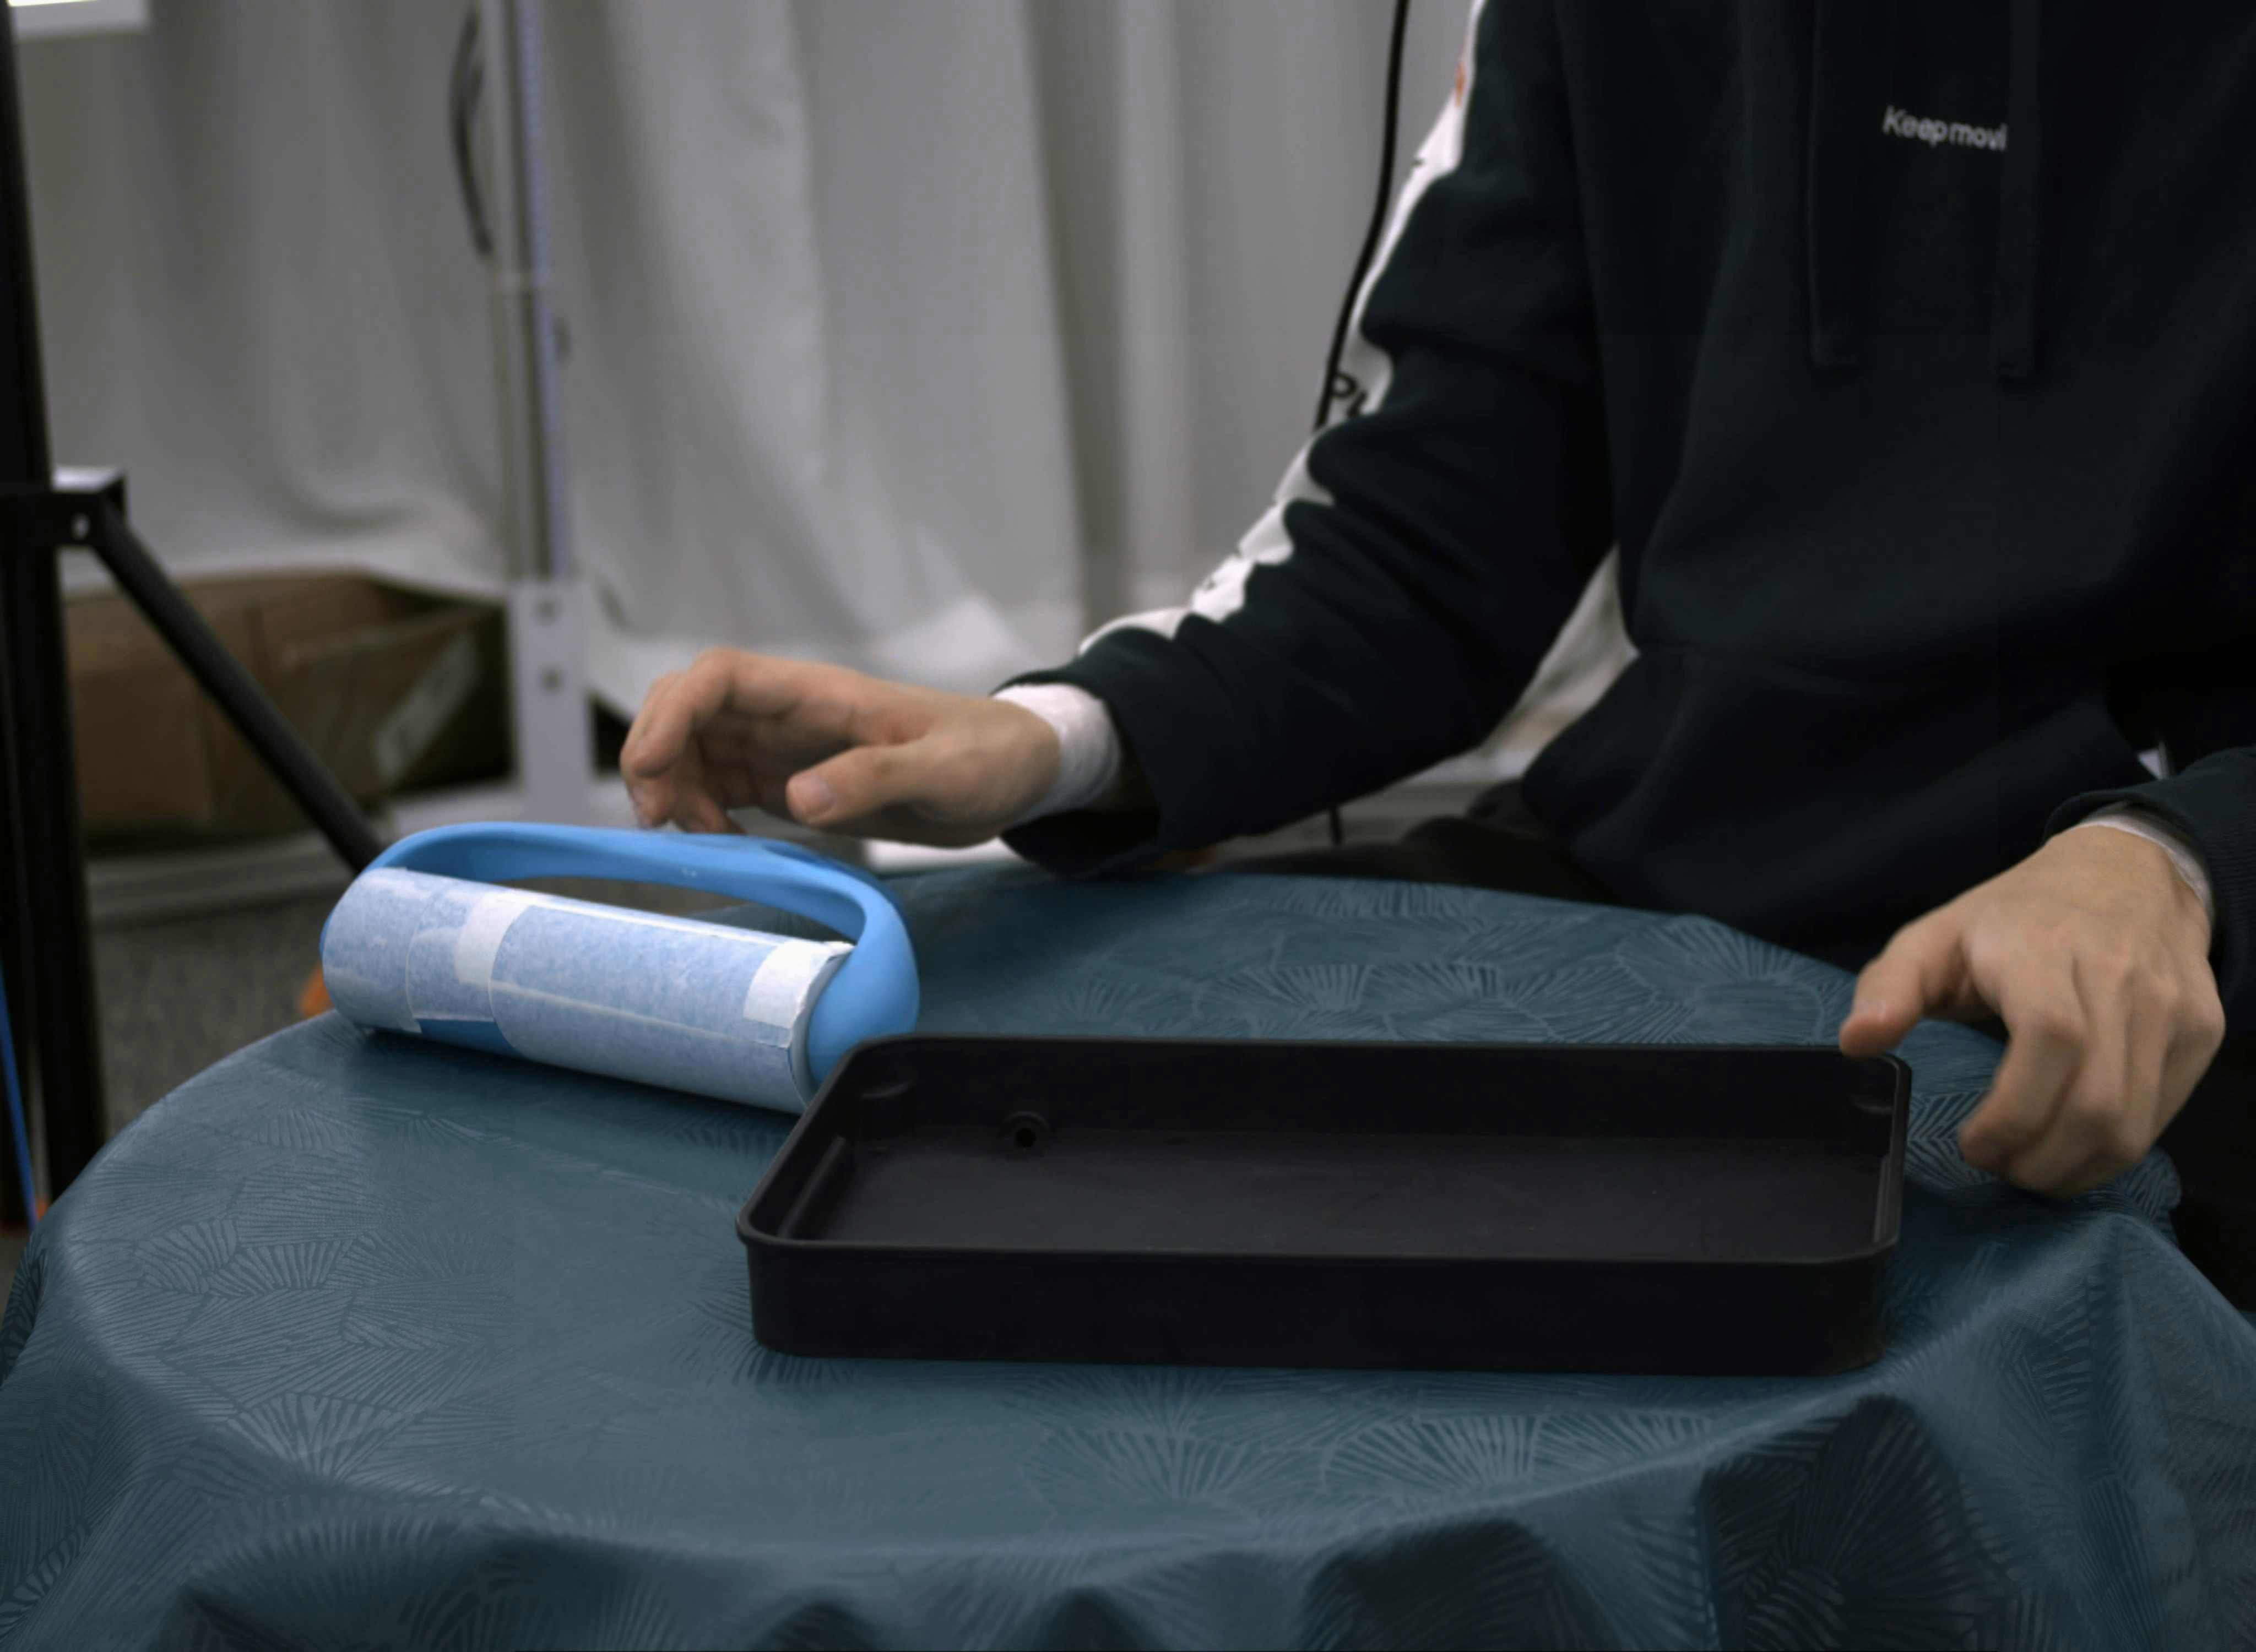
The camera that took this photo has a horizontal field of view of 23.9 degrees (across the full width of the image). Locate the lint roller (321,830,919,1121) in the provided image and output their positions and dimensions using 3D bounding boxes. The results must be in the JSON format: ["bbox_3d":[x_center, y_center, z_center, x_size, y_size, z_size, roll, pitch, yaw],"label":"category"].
[{"bbox_3d":[-0.133,0.036,1.731,0.233,0.068,0.177,6,19,34],"label":"lint roller"}]

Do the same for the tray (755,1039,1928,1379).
[{"bbox_3d":[0.065,0.106,1.492,0.319,0.037,0.183,-1,16,10],"label":"tray"}]
